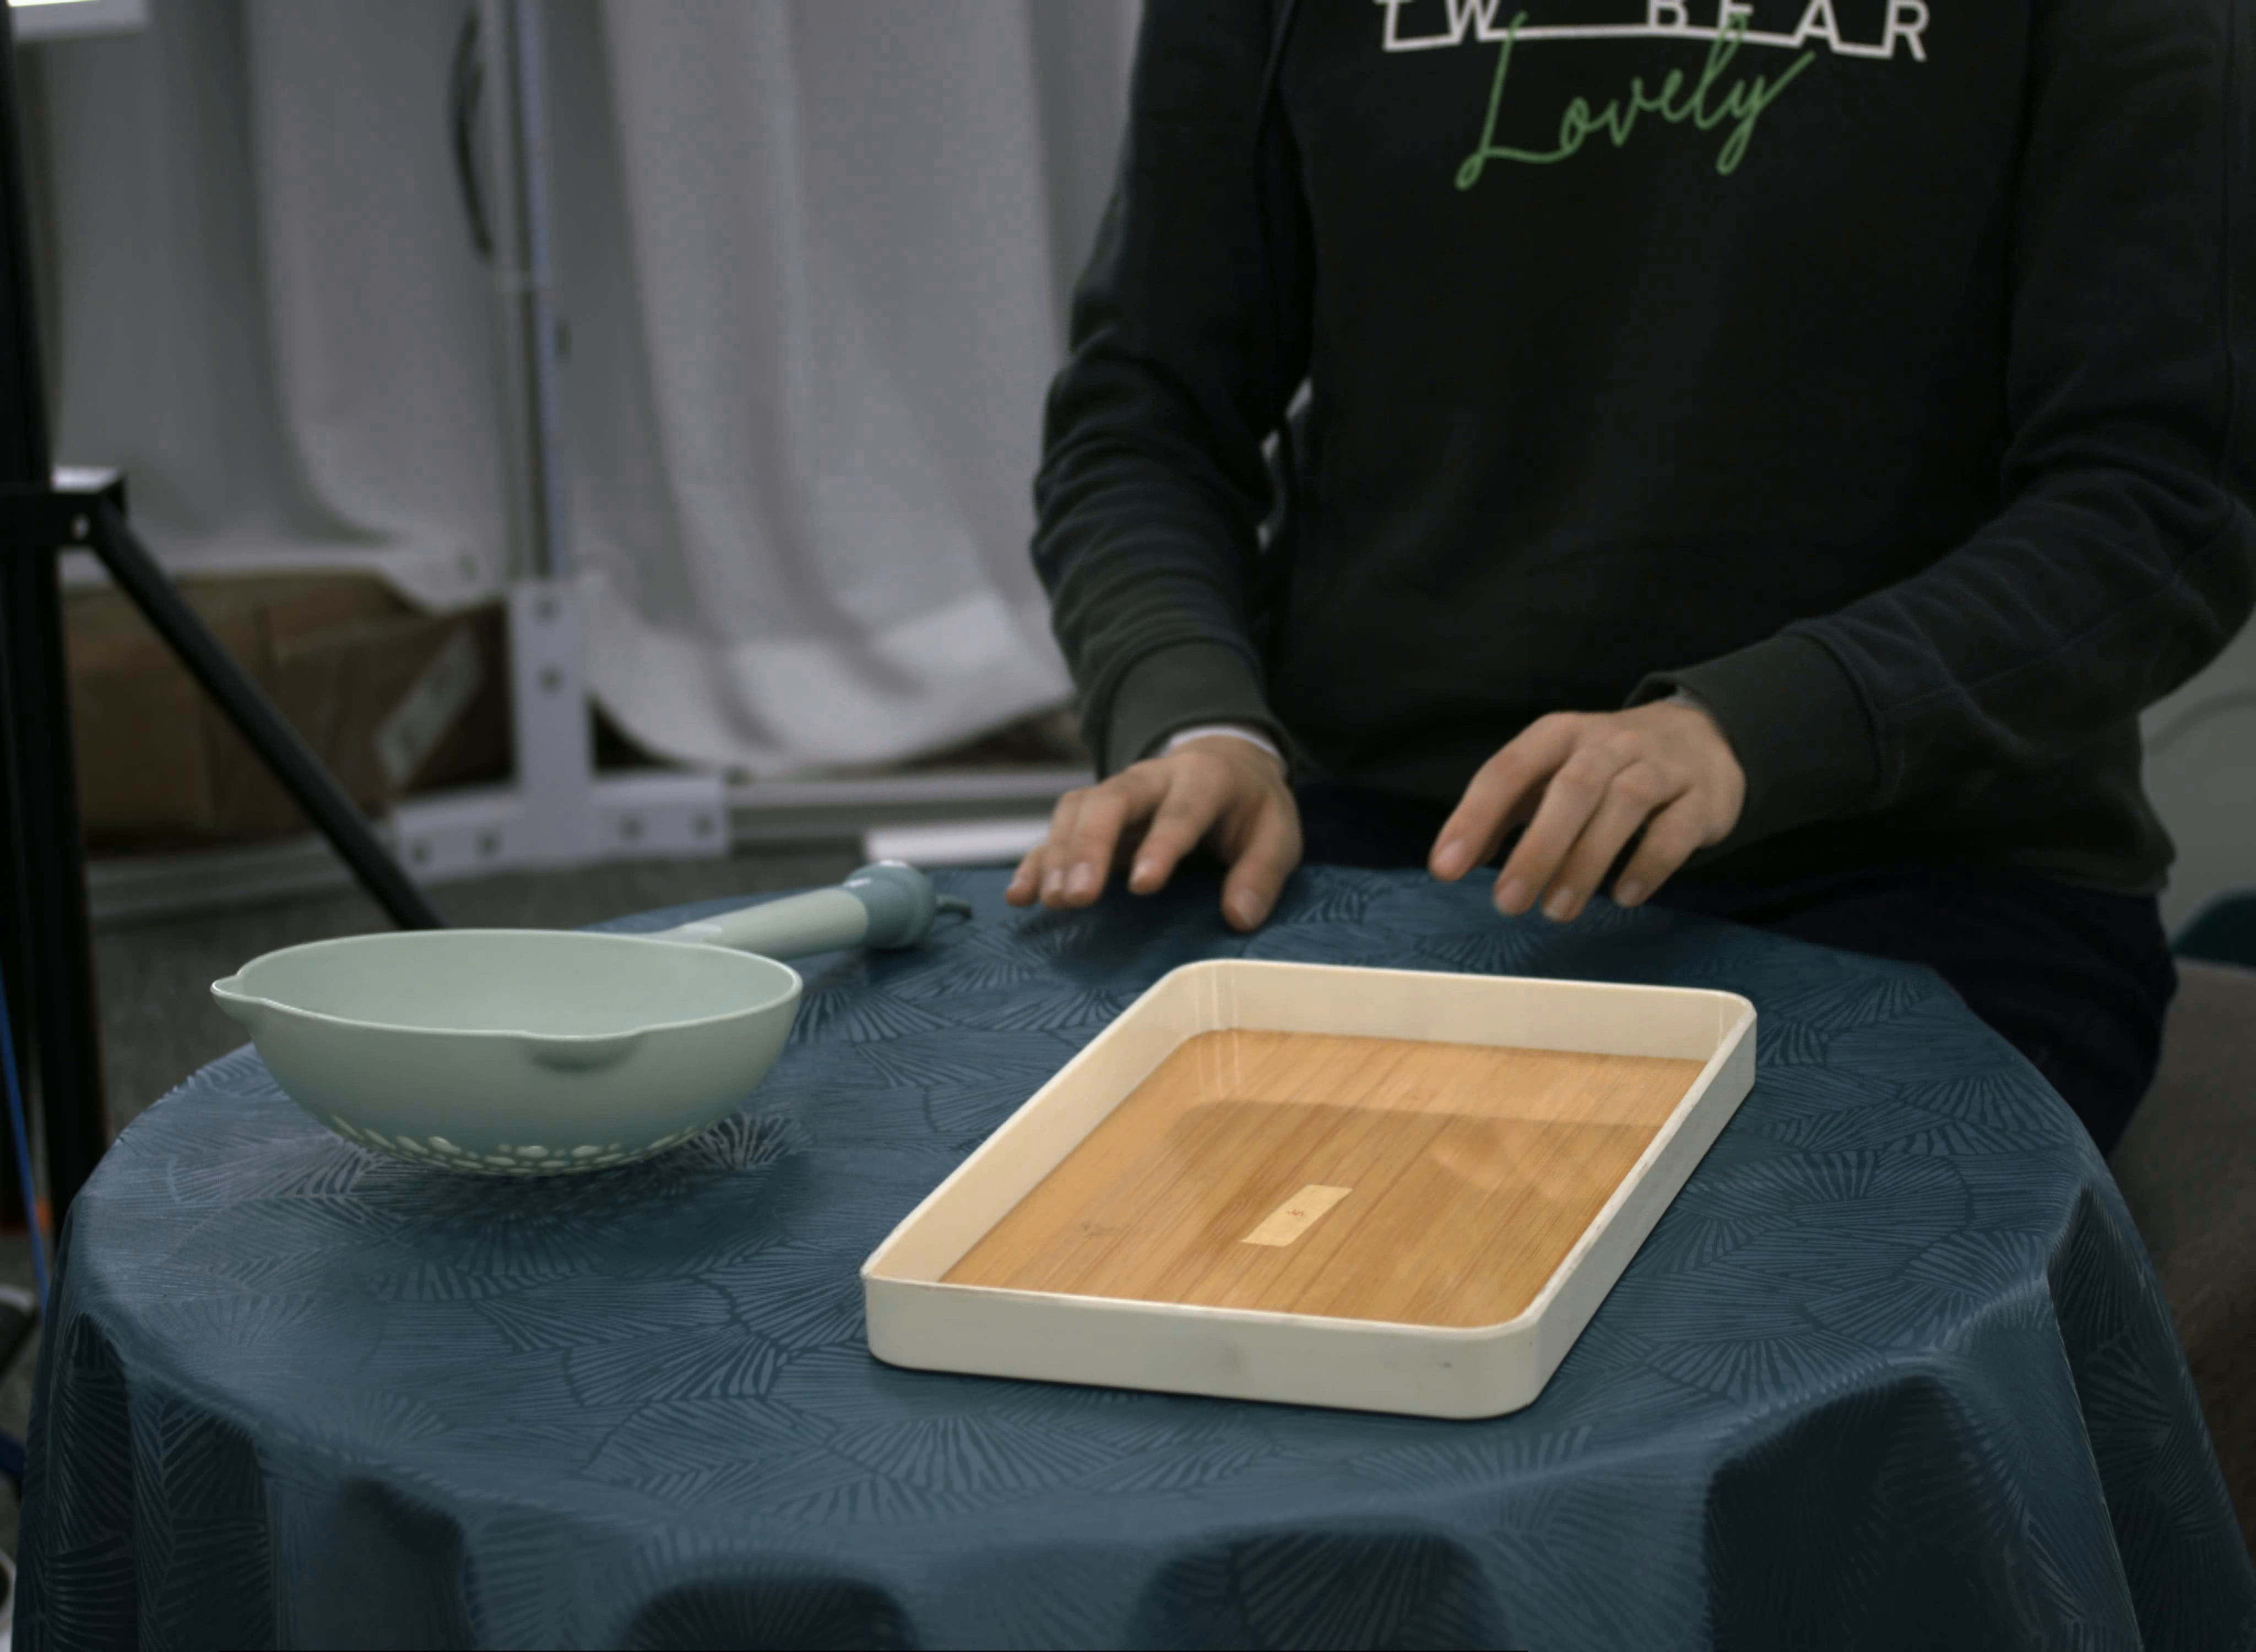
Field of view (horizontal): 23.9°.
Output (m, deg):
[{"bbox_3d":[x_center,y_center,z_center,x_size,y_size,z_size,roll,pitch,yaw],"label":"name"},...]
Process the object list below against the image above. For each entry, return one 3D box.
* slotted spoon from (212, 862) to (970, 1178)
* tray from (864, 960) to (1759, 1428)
[{"bbox_3d":[-0.139,0.045,1.683,0.172,0.075,0.353,6,18,26],"label":"slotted spoon"},{"bbox_3d":[0.061,0.100,1.528,0.194,0.027,0.297,3,17,20],"label":"tray"}]
